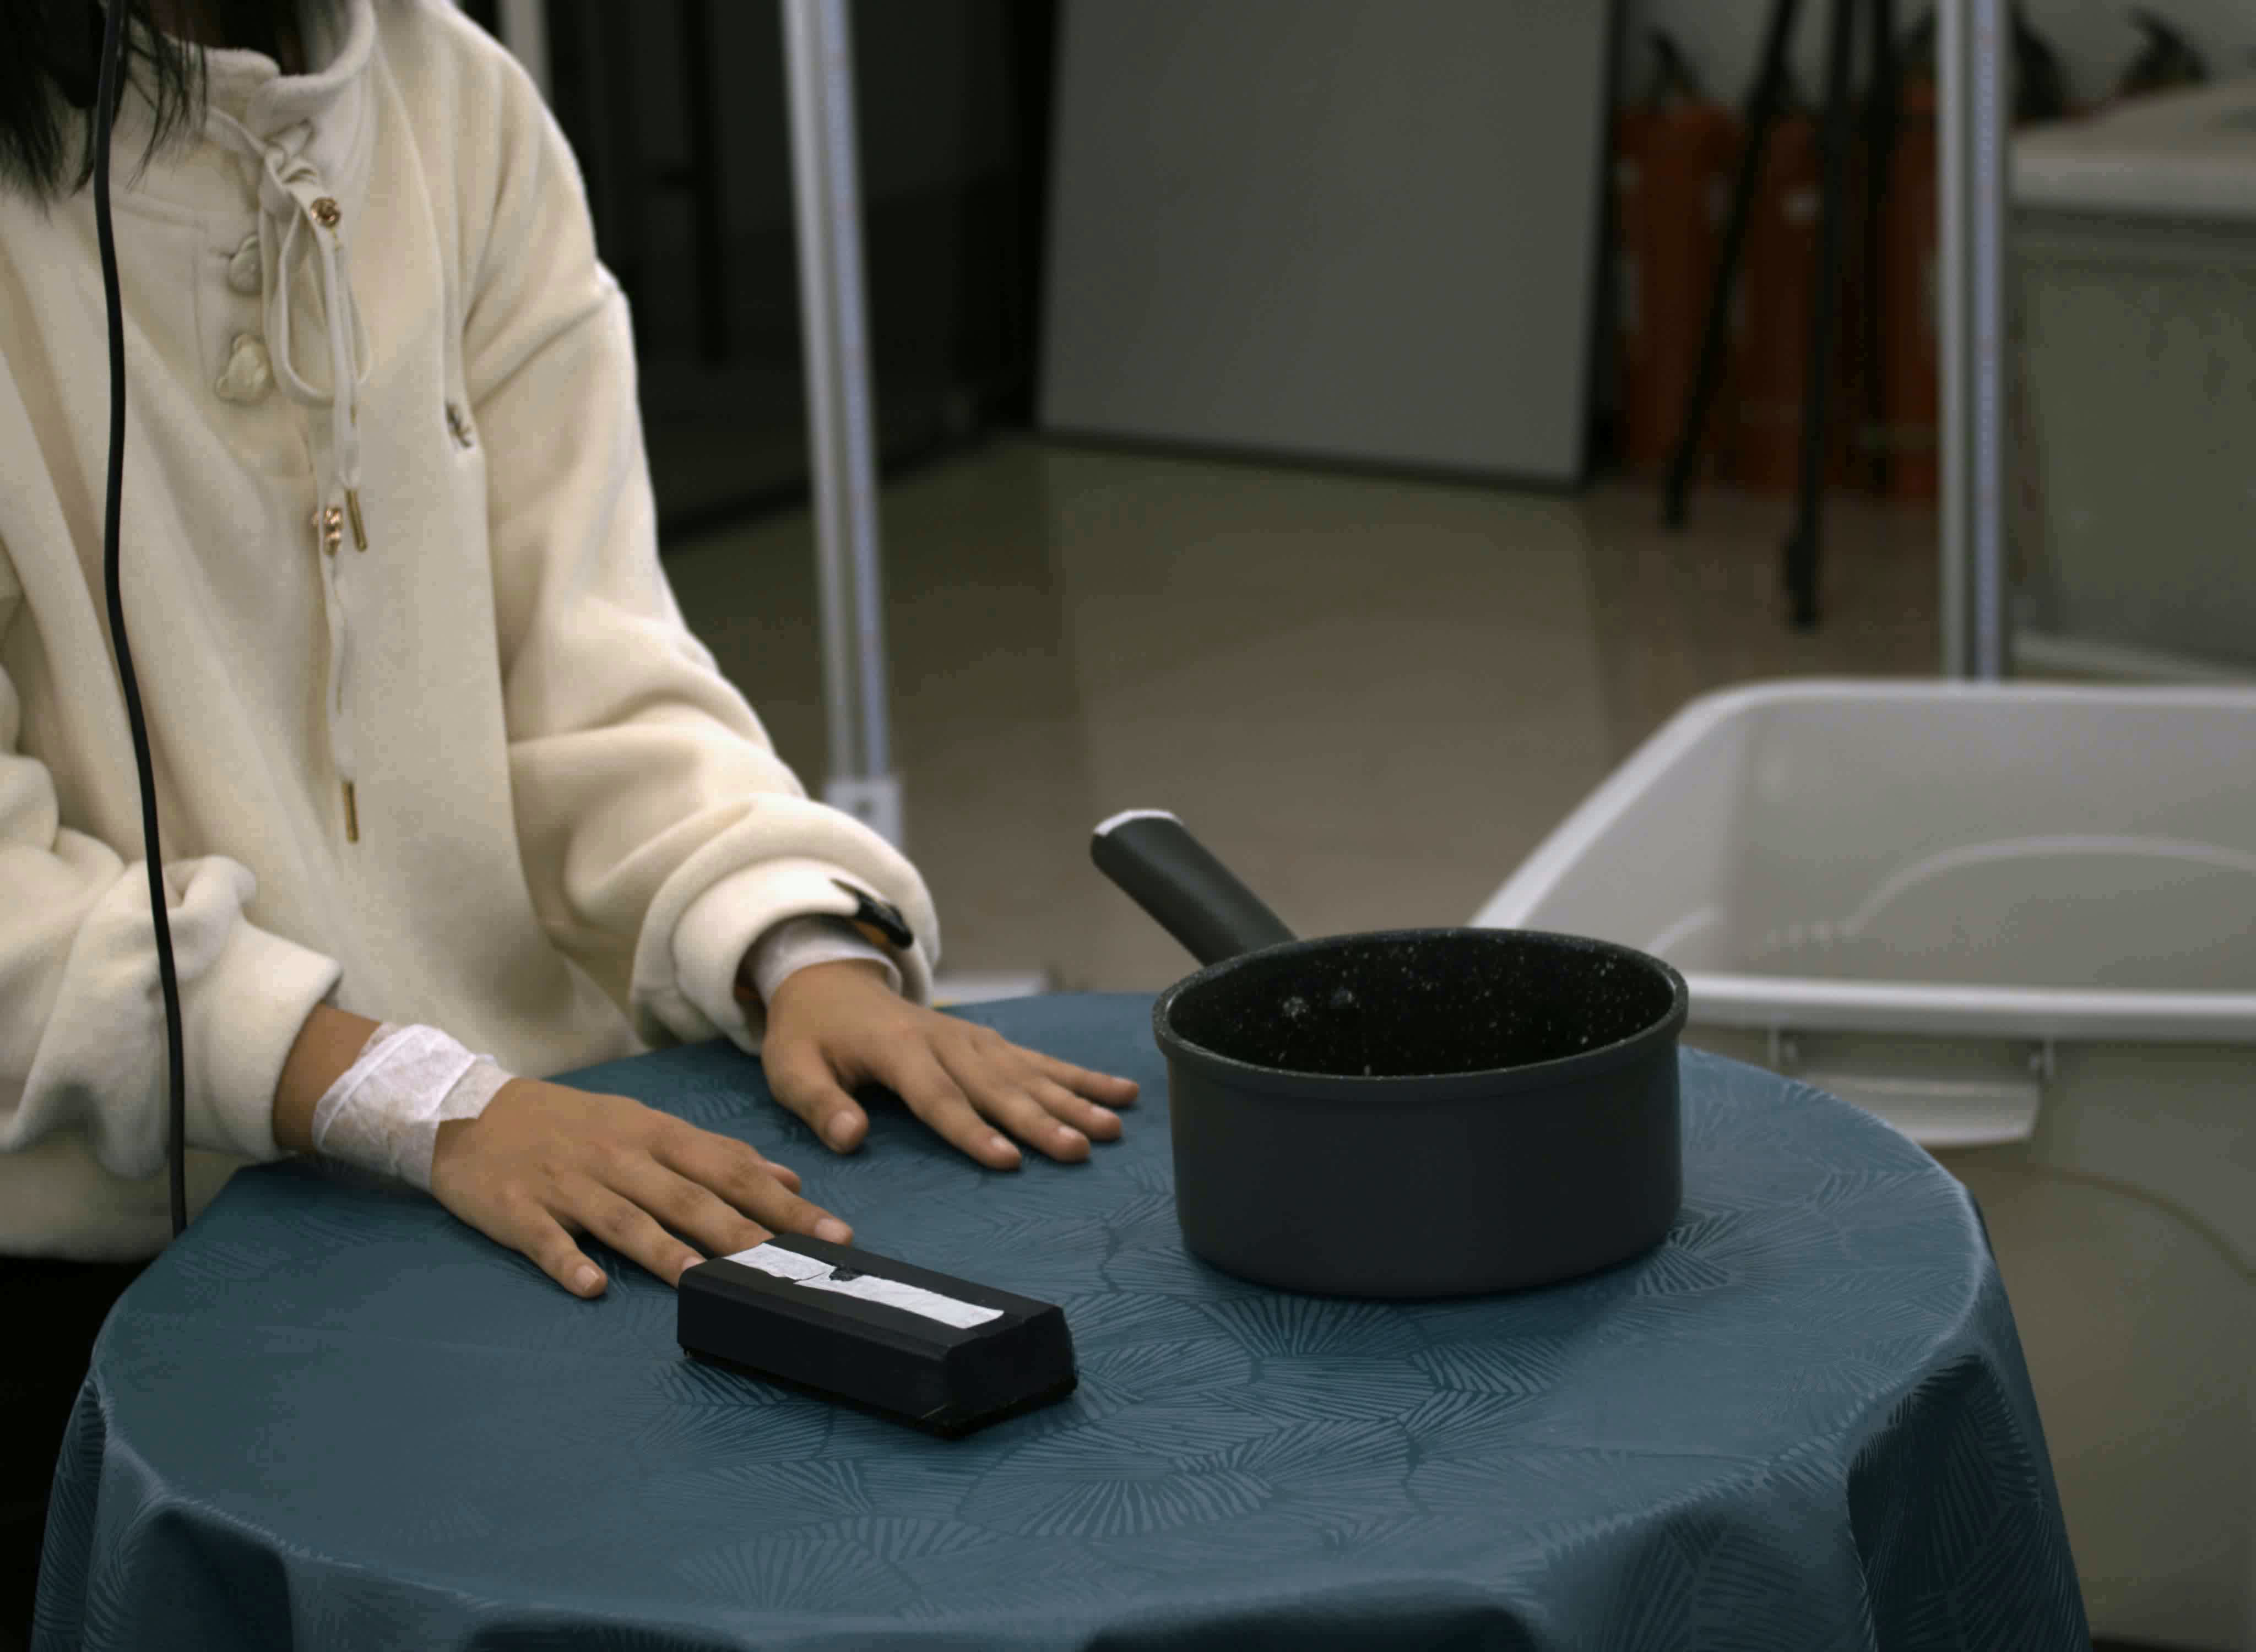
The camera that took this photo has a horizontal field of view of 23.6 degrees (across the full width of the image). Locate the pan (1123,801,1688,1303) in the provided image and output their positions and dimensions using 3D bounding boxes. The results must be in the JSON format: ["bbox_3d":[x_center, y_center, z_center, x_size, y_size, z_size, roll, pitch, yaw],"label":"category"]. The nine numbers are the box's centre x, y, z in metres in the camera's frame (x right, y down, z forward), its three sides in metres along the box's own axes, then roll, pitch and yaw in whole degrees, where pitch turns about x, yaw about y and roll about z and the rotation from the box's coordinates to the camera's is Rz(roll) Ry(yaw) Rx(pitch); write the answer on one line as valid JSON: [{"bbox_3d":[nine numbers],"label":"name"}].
[{"bbox_3d":[0.067,0.070,1.780,0.168,0.087,0.332,-8,16,-18],"label":"pan"}]

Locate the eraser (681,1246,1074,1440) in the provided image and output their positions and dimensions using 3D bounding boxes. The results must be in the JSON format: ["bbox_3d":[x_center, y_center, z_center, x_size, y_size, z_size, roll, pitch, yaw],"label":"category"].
[{"bbox_3d":[-0.074,0.153,1.608,0.052,0.031,0.127,-15,16,-40],"label":"eraser"}]
